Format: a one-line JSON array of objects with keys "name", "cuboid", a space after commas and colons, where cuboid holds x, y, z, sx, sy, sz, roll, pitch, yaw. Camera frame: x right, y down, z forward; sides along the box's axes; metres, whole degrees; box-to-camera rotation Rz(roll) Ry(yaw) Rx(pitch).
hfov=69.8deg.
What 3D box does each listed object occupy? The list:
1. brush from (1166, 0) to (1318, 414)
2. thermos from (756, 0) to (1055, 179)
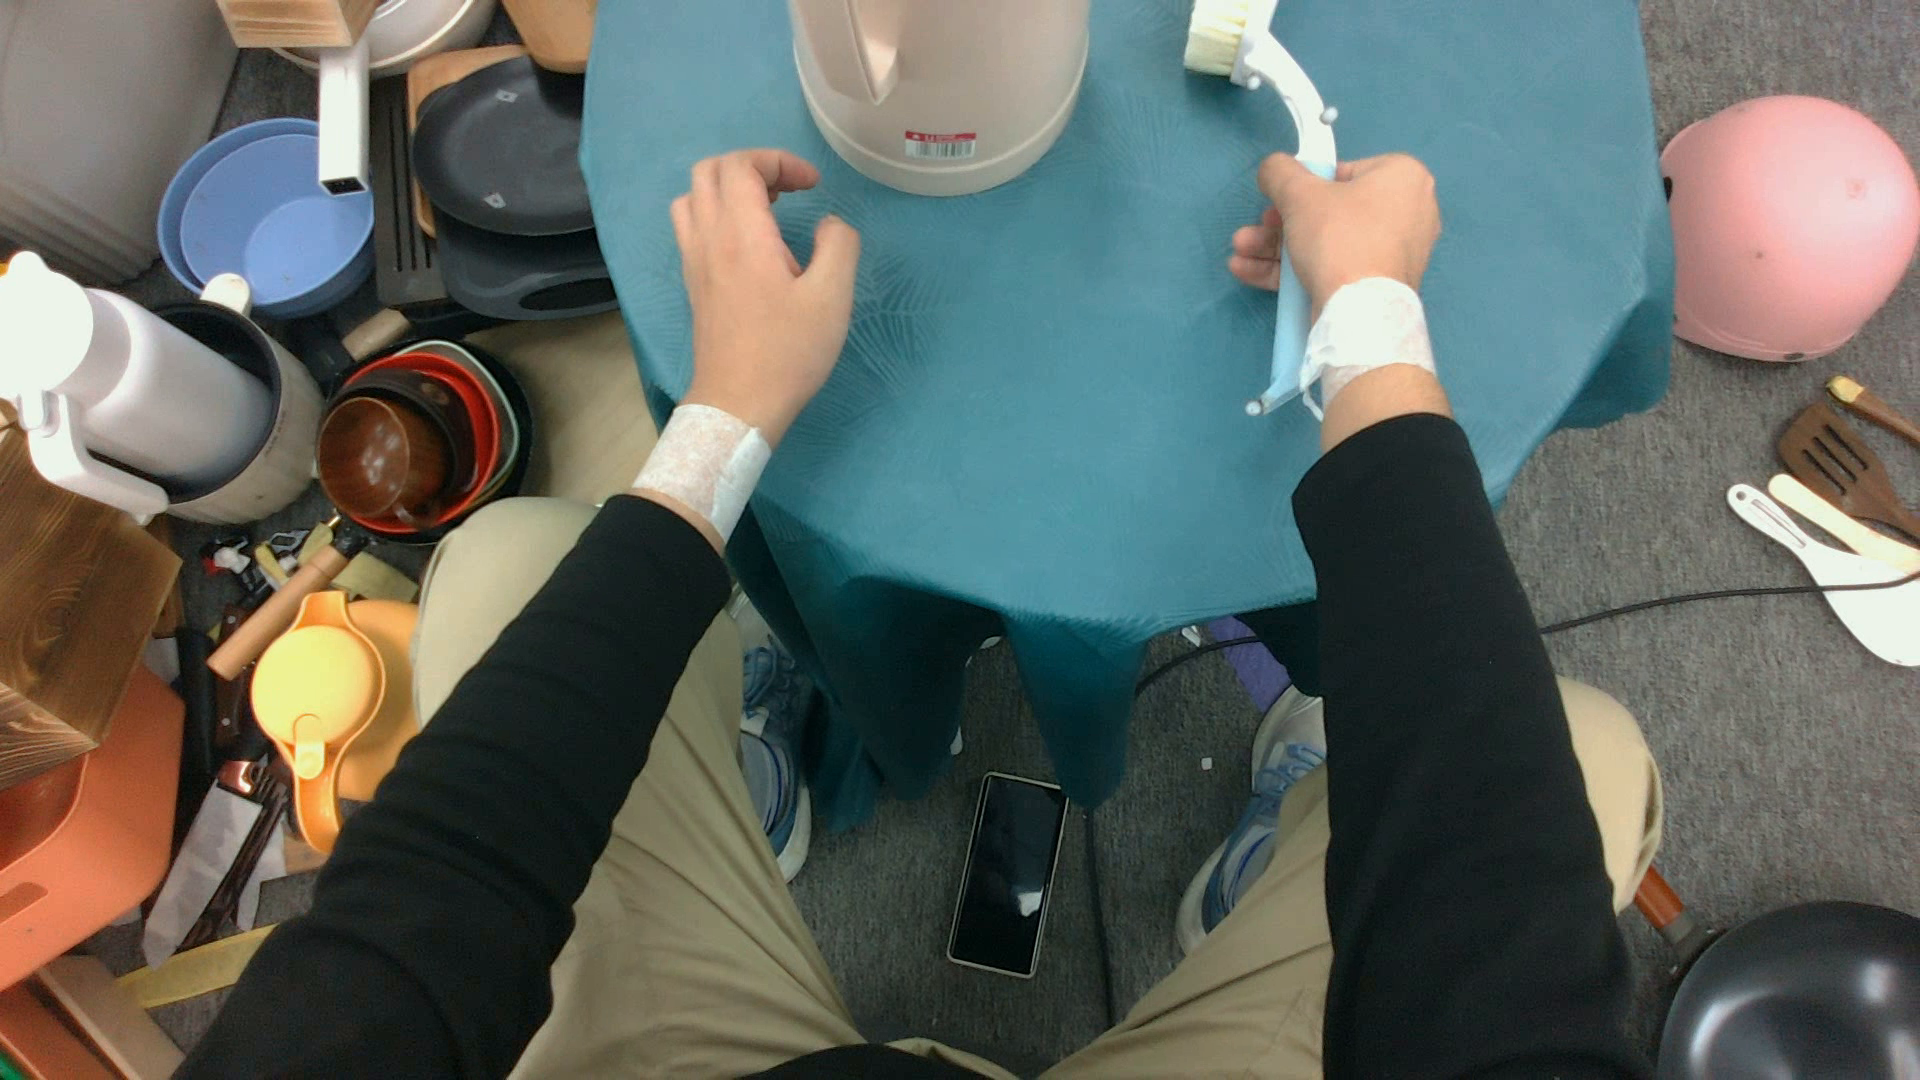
[{"name": "brush", "cuboid": [0.138, -0.225, 0.729, 0.084, 0.083, 0.326, -5, 72, 38]}, {"name": "thermos", "cuboid": [-0.030, -0.300, 0.580, 0.175, 0.405, 0.207, 21, 79, 1]}]
